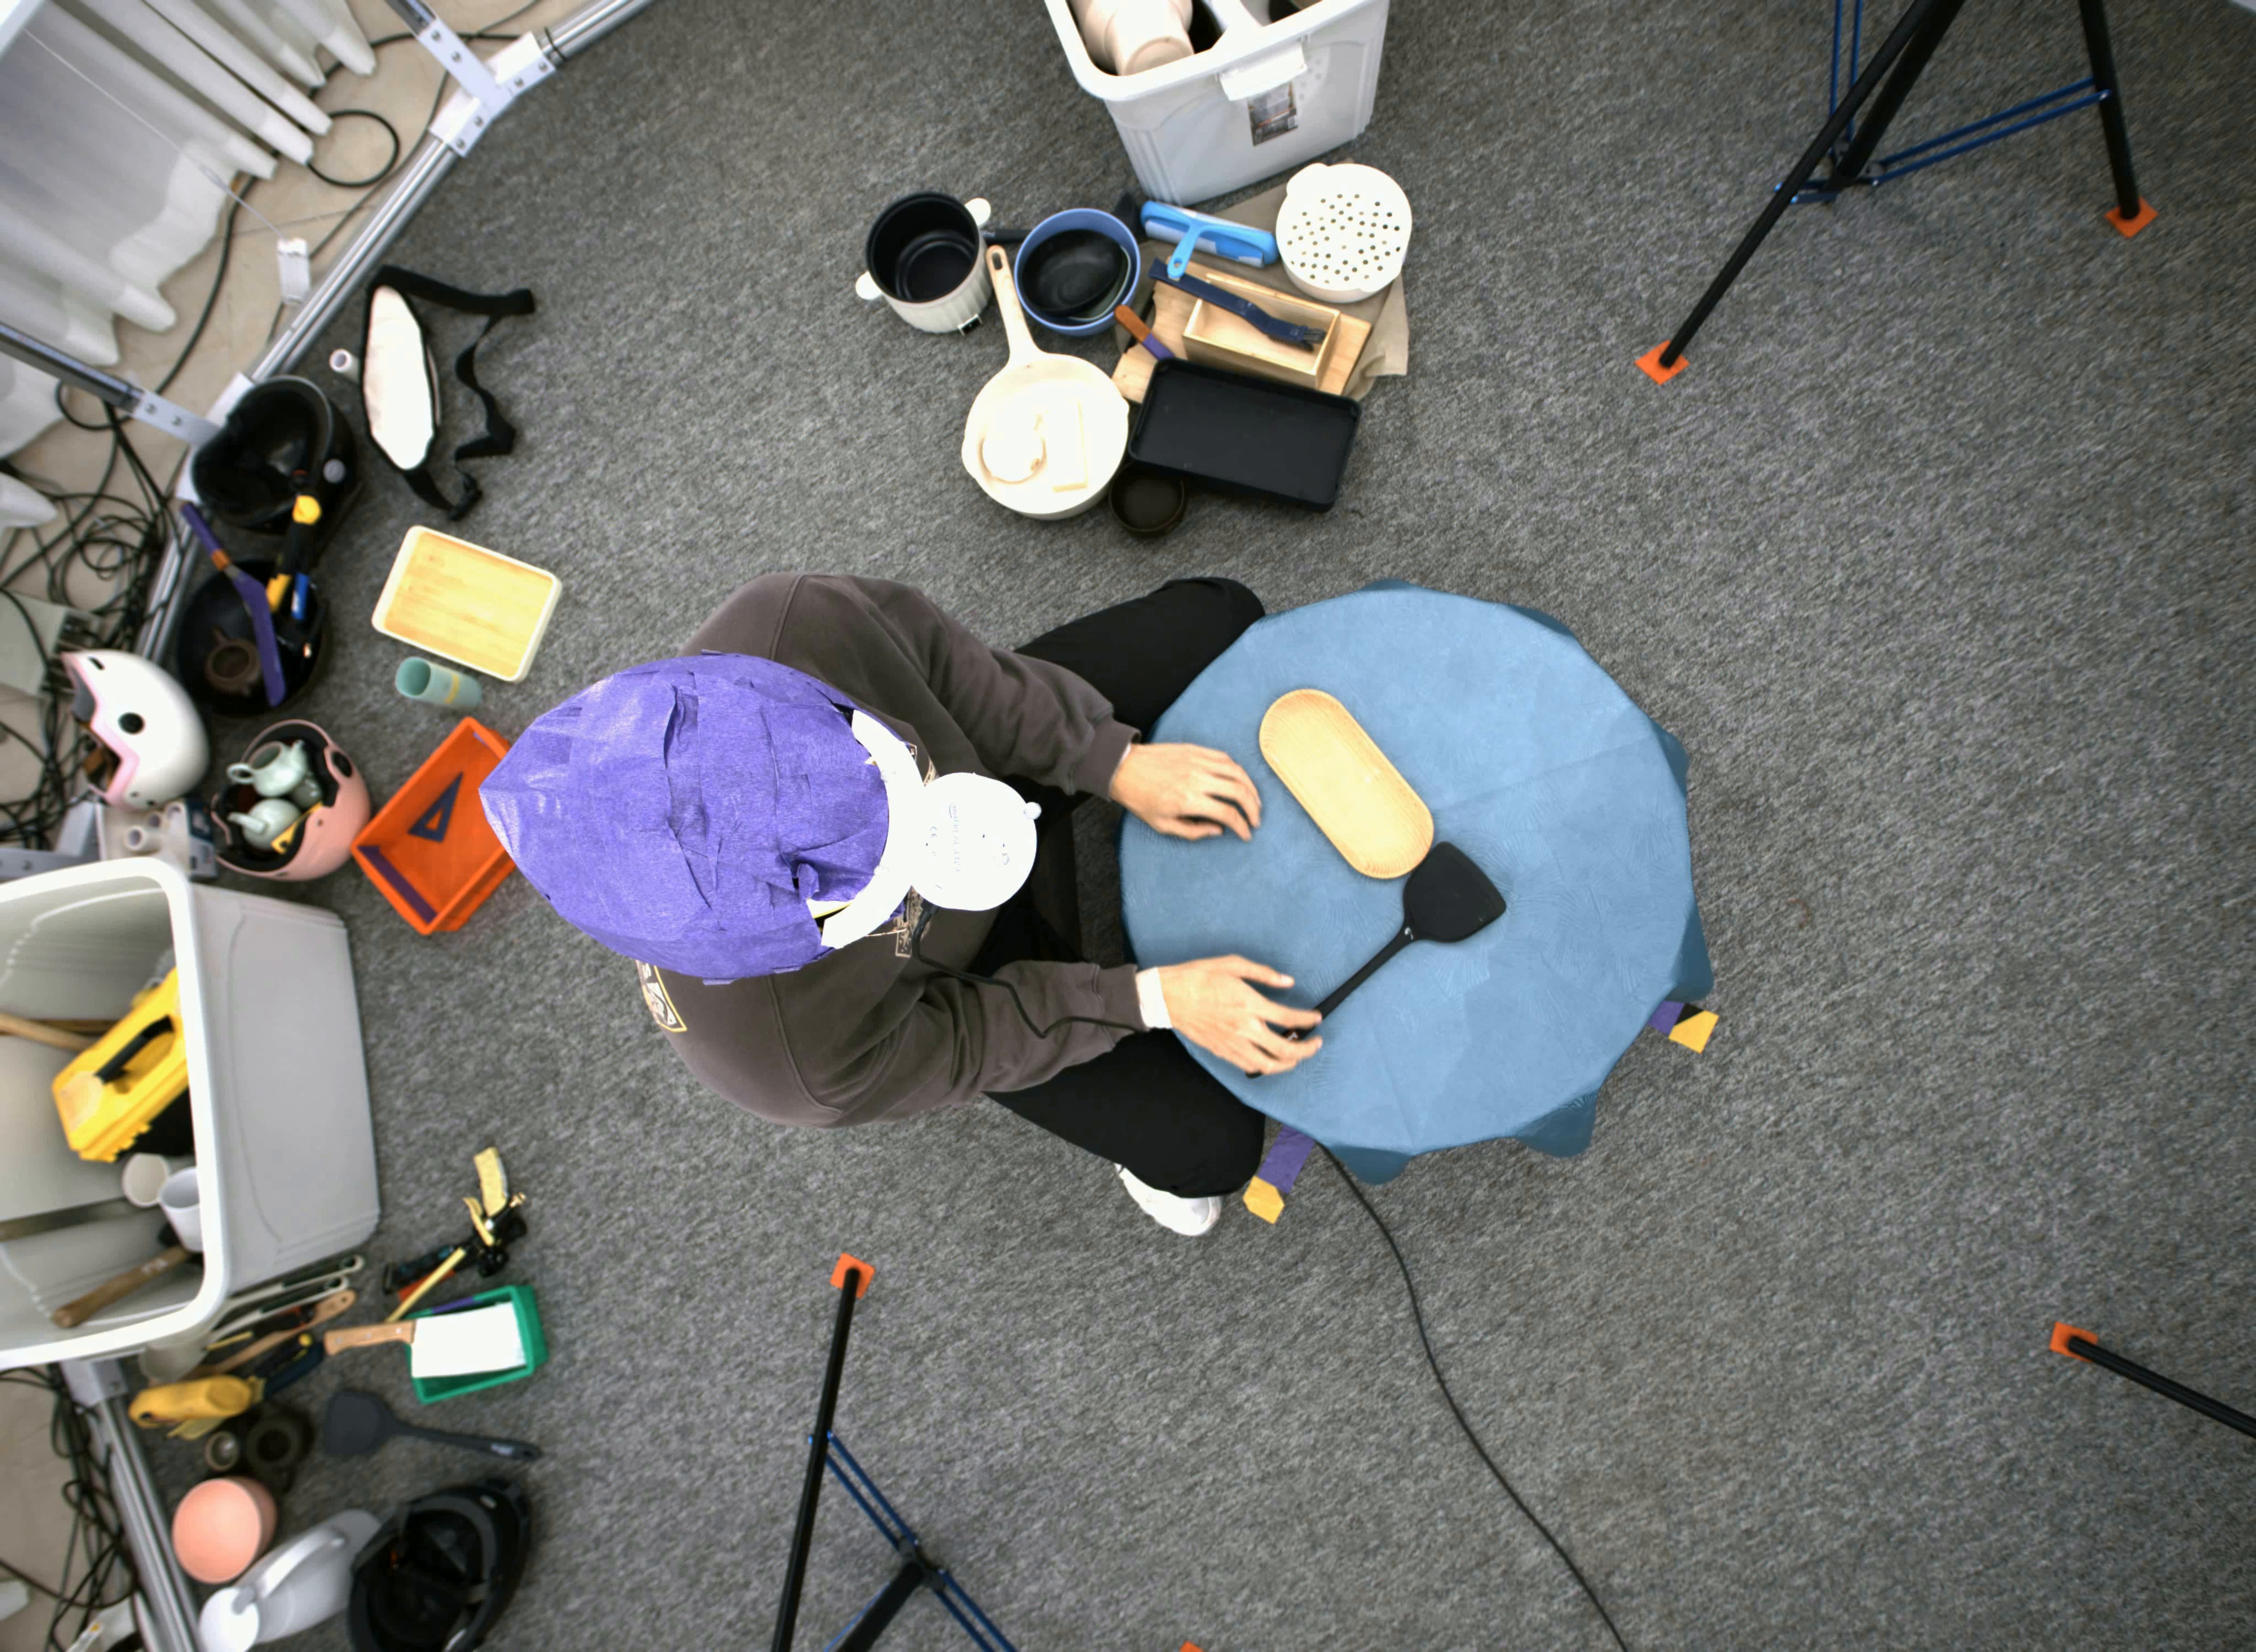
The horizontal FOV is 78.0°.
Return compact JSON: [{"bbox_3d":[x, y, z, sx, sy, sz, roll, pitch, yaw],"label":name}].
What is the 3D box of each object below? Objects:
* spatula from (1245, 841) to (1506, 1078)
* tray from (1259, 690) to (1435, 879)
[{"bbox_3d":[0.243,0.153,1.440,0.328,0.040,0.099,-42,79,6],"label":"spatula"},{"bbox_3d":[0.231,-0.045,1.462,0.102,0.020,0.230,-39,82,7],"label":"tray"}]
